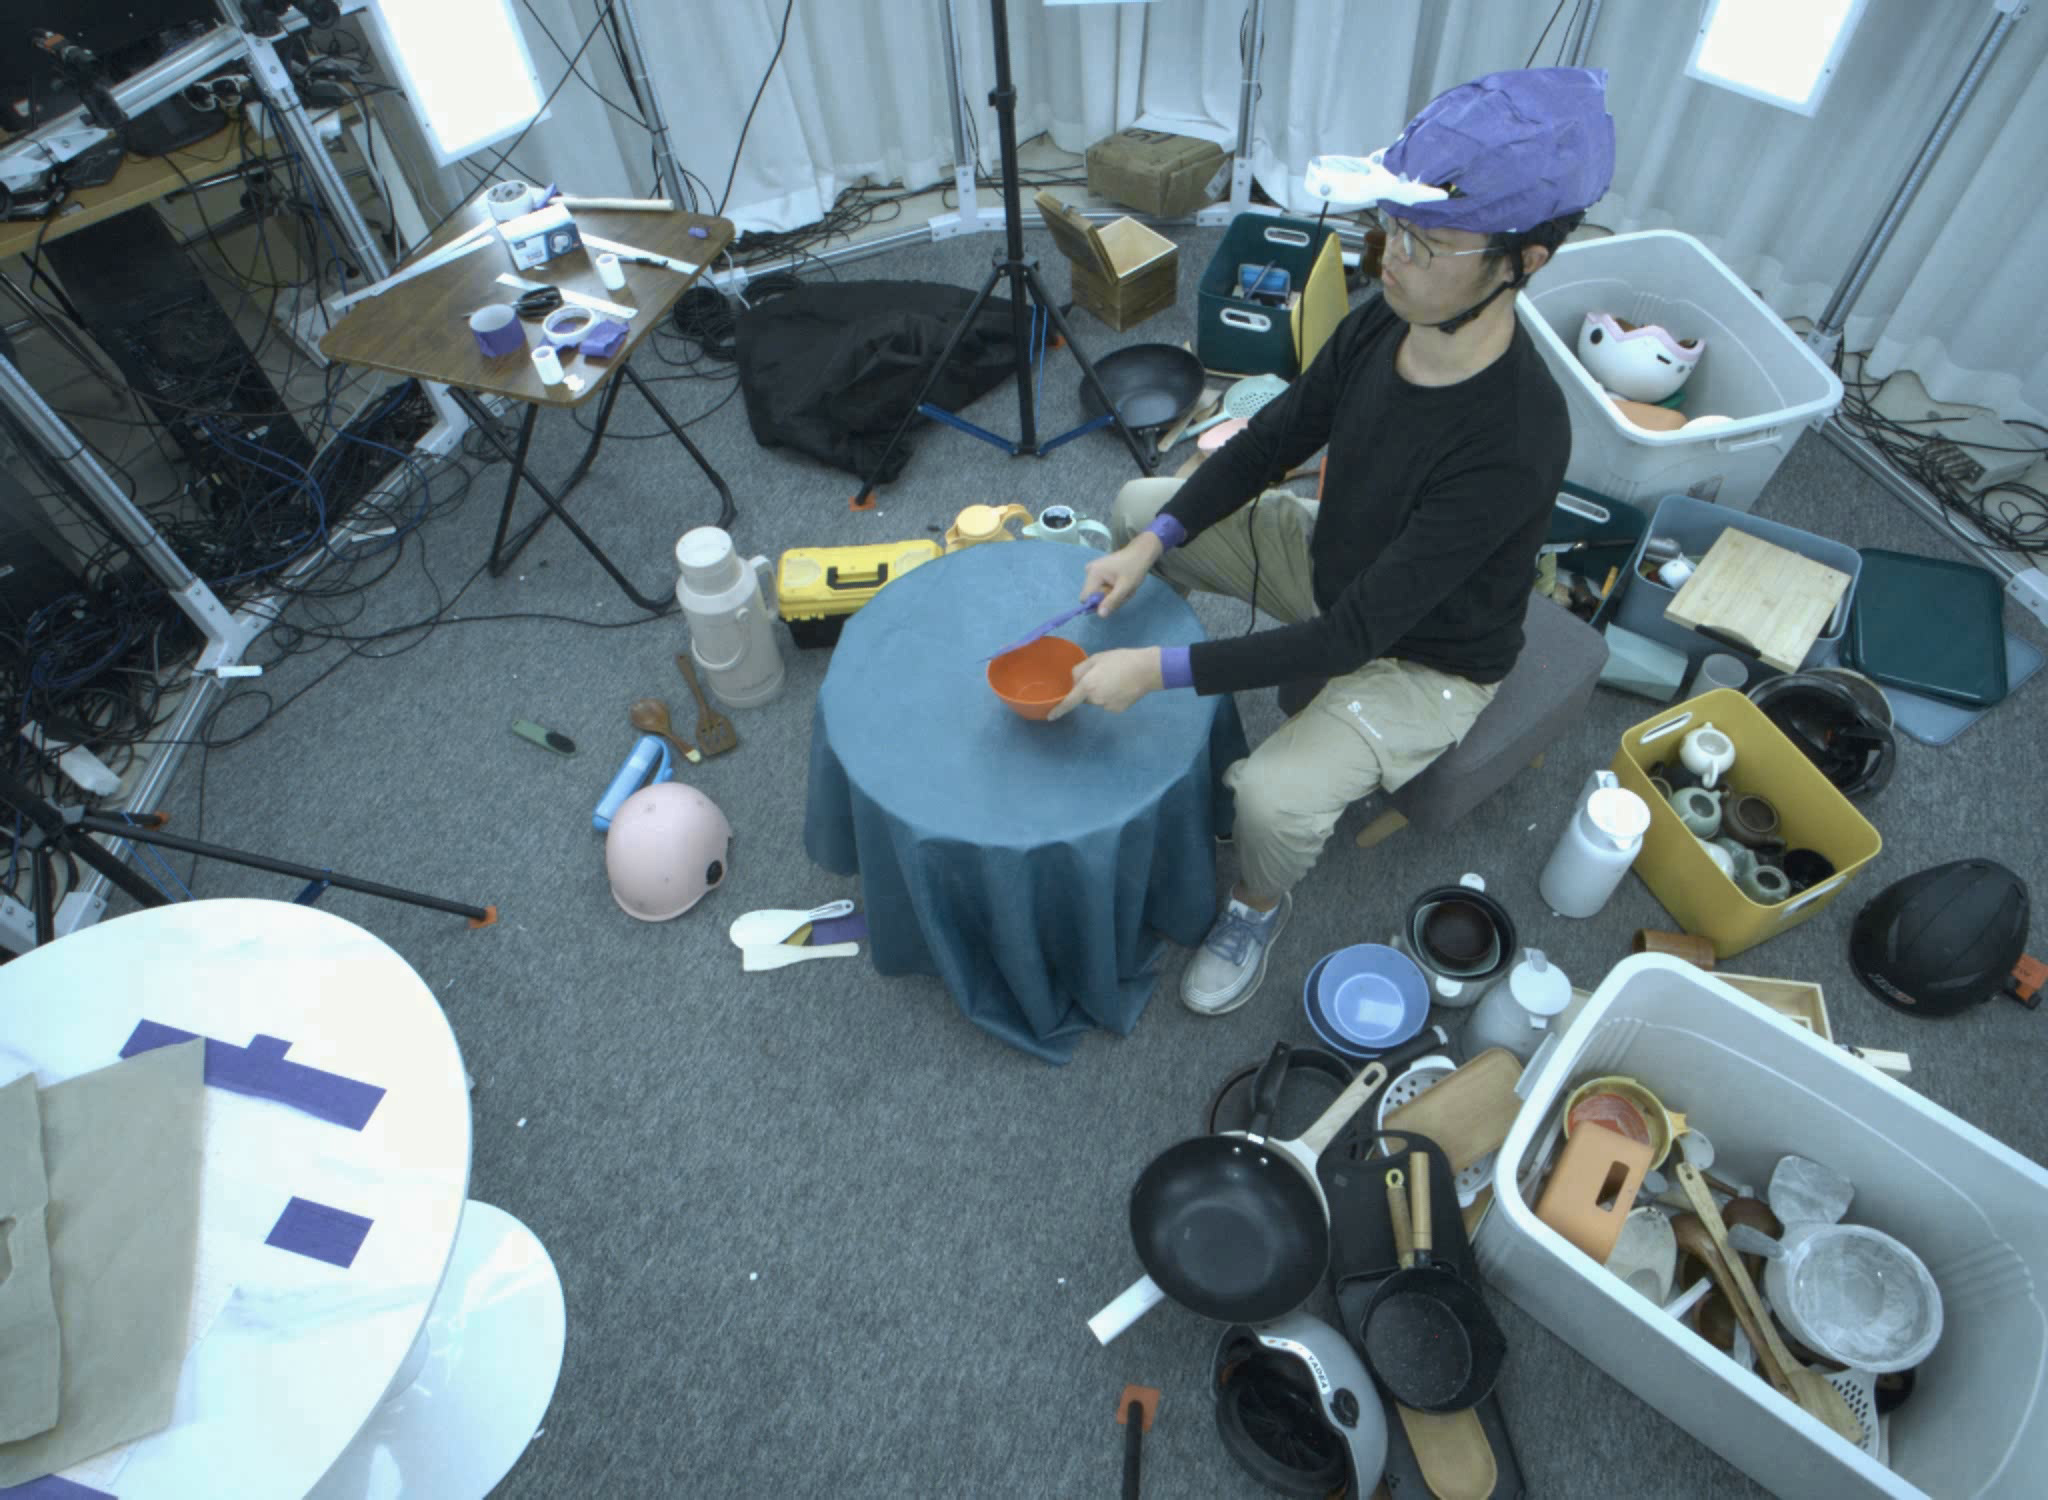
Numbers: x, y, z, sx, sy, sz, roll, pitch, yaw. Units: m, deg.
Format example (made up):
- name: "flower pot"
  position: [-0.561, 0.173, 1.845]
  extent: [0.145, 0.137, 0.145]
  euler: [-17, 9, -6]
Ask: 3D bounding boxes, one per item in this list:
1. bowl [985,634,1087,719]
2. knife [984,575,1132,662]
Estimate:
- name: "bowl"
  position: [0.020, -0.092, 1.785]
  extent: [0.148, 0.106, 0.146]
  euler: [-2, 55, 4]
- name: "knife"
  position: [0.050, -0.195, 1.802]
  extent: [0.102, 0.032, 0.319]
  euler: [-16, 11, 39]
